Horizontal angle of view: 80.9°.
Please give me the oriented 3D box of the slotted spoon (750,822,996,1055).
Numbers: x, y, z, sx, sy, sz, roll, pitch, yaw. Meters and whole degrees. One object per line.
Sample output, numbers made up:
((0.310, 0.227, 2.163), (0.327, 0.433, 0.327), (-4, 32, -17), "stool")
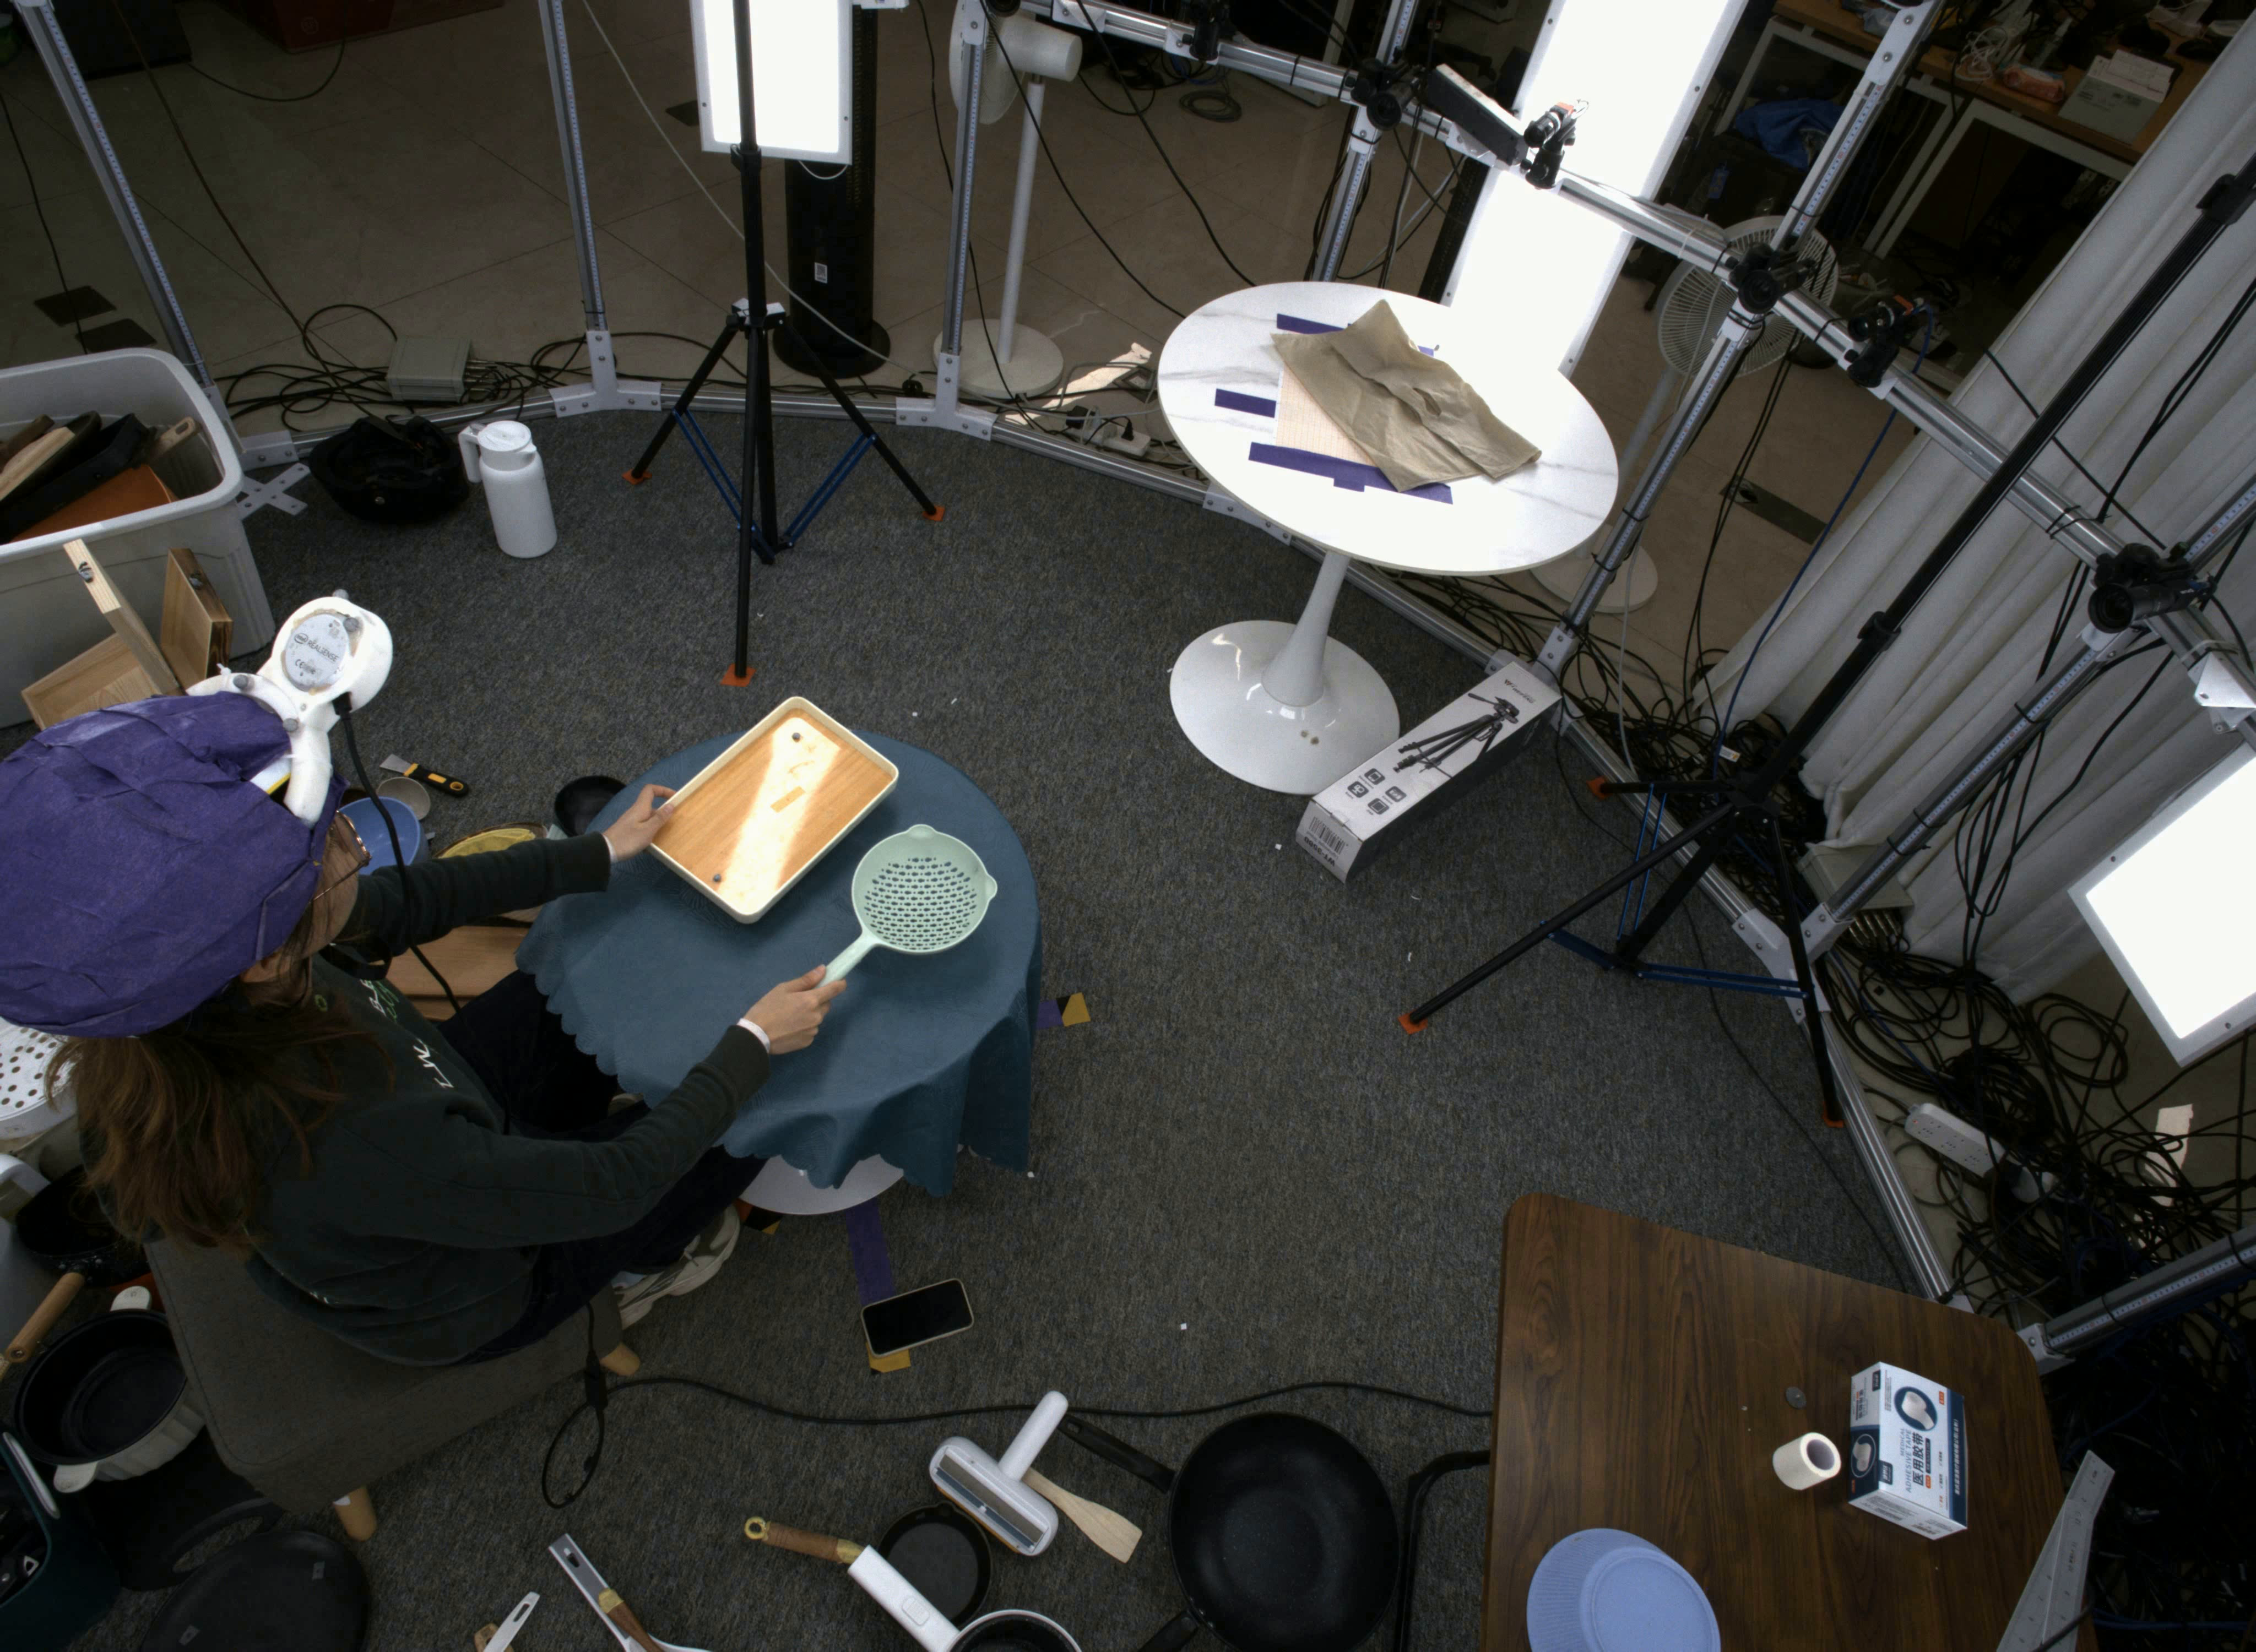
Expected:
((-0.317, 0.141, 1.568), (0.166, 0.076, 0.359), (38, 52, 12), "slotted spoon")

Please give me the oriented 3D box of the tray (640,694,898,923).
((-0.459, -0.030, 1.669), (0.190, 0.028, 0.299), (37, 56, 5), "tray")
